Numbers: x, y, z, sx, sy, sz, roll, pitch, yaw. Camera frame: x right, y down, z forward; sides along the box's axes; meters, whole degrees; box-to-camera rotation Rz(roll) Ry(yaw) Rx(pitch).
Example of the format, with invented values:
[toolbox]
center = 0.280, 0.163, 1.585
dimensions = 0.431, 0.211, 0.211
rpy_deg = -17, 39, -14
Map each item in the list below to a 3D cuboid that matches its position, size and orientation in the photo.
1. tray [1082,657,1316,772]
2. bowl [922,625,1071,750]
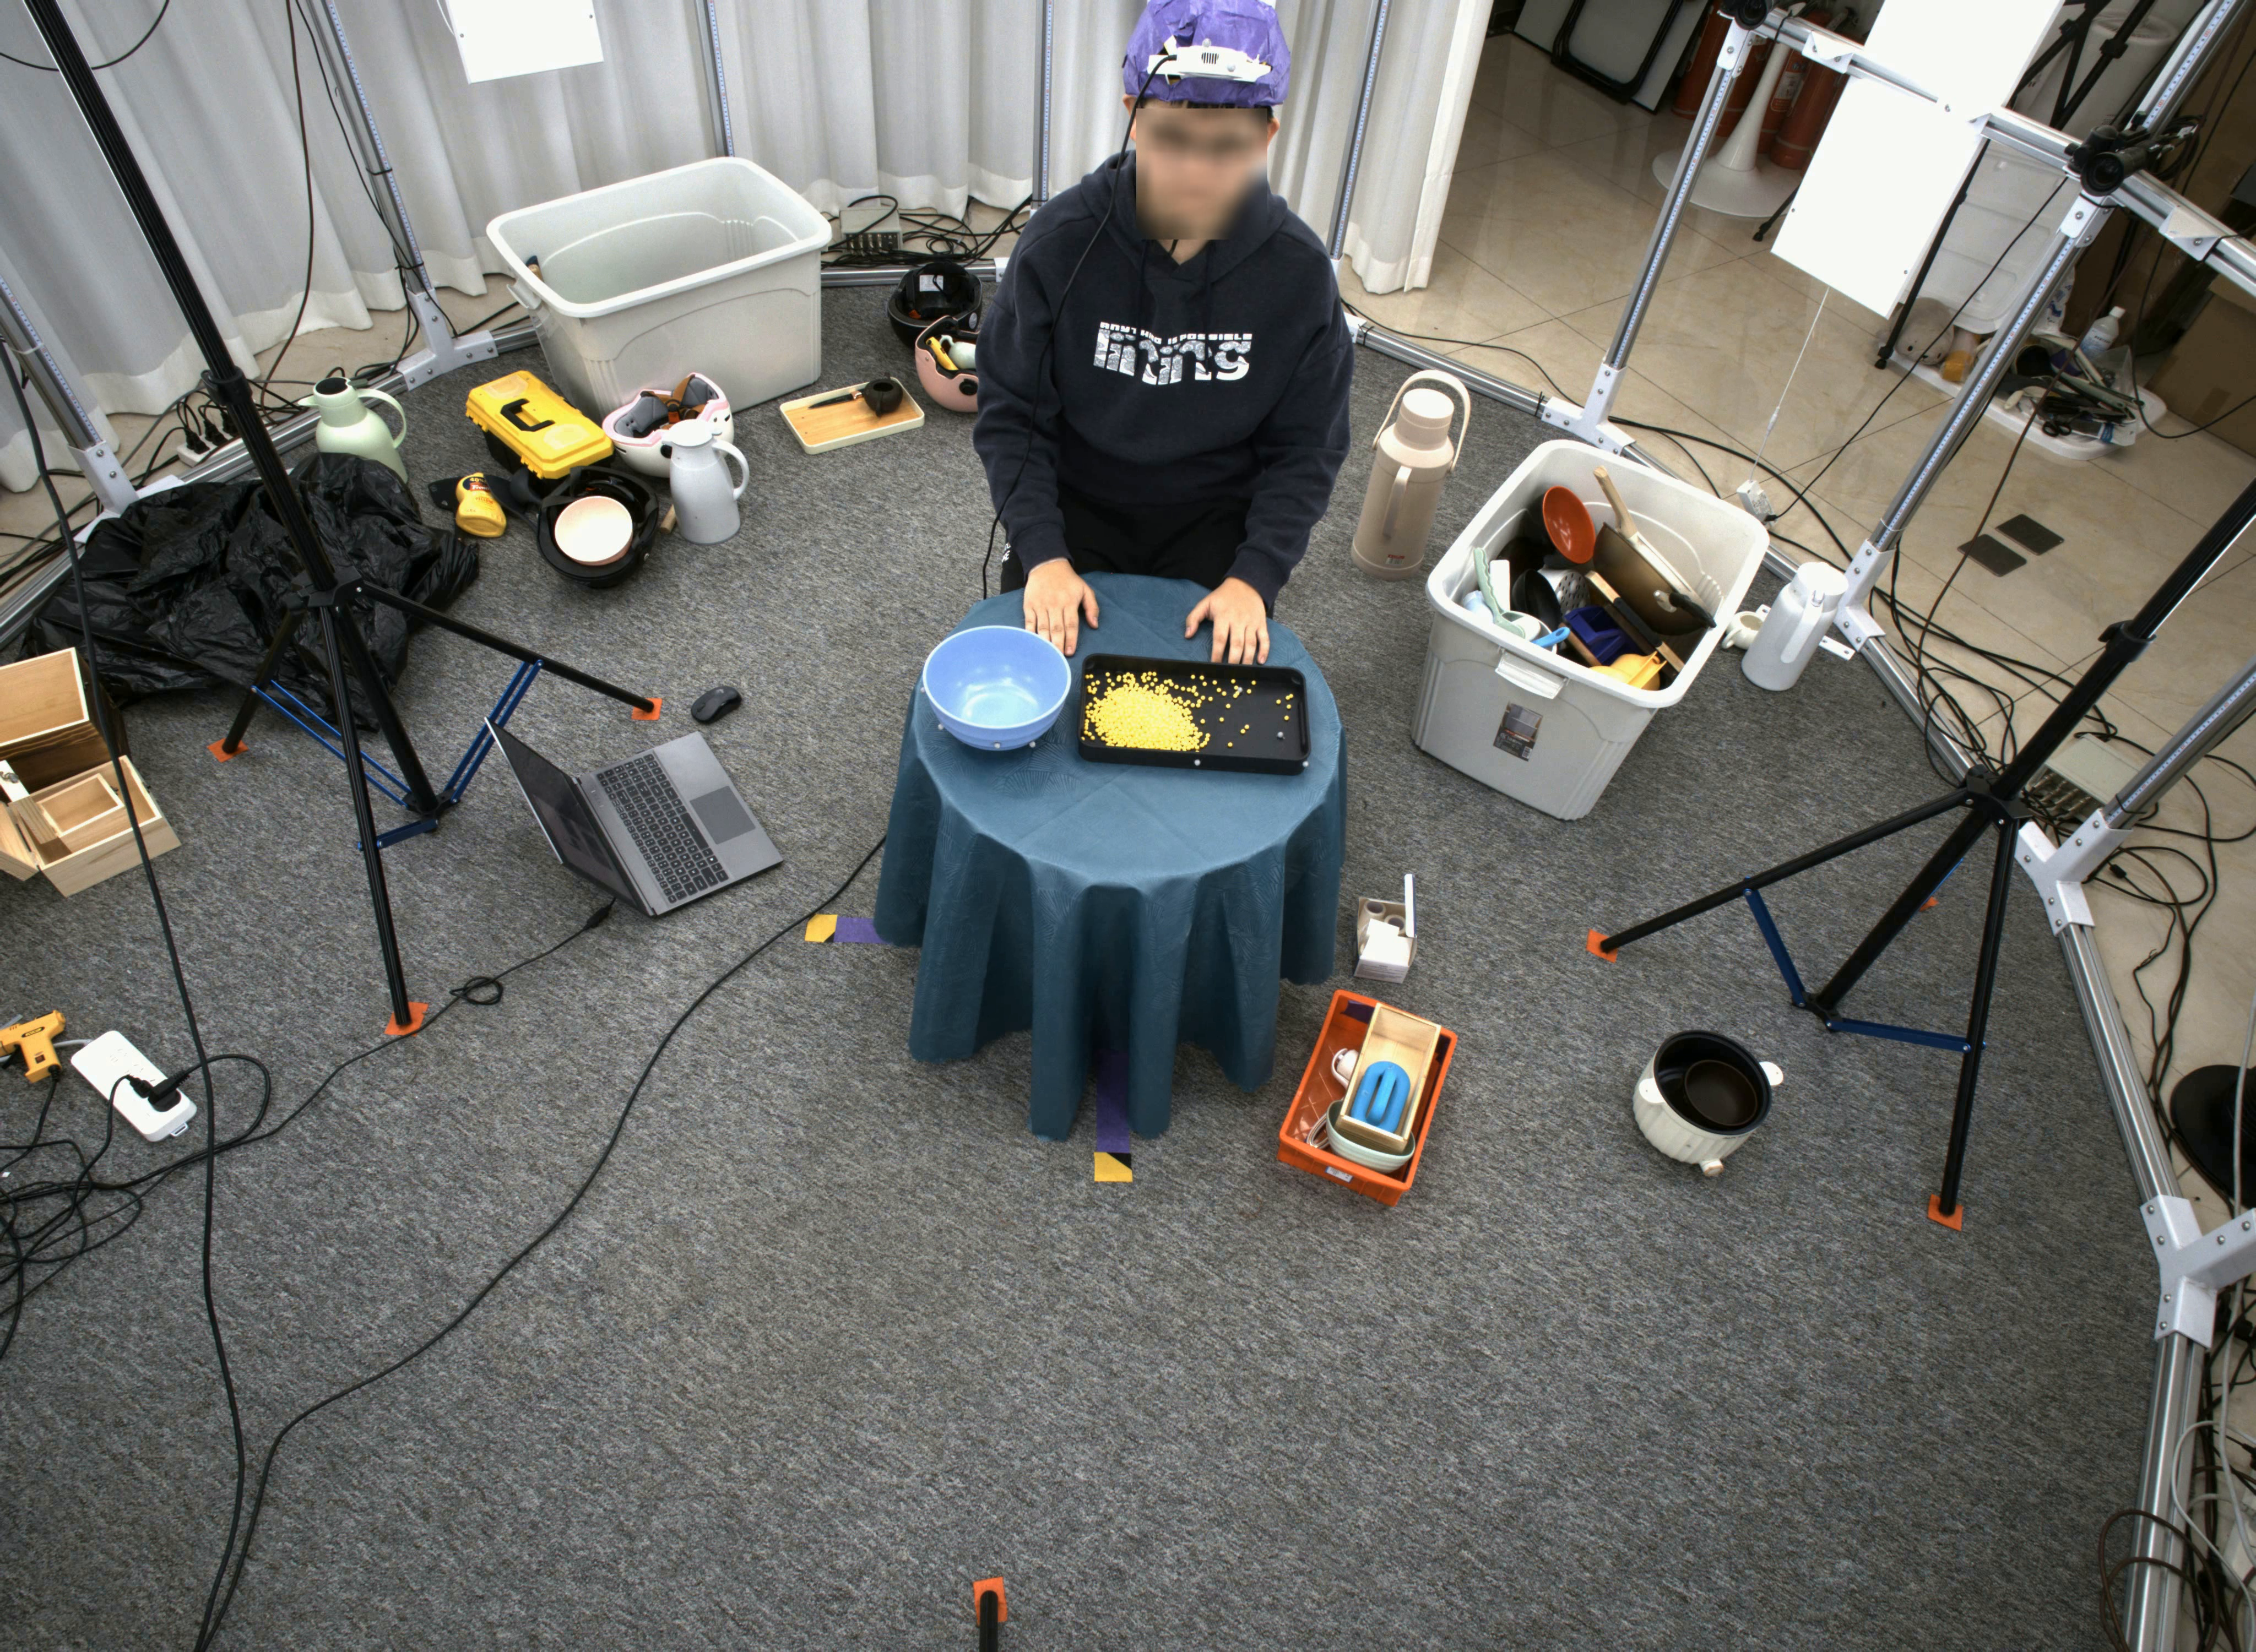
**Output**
[tray]
center = 0.096, -0.156, 1.787
dimensions = 0.318, 0.036, 0.189
rpy_deg = 2, 48, -1
[bowl]
center = -0.176, -0.172, 1.739
dimensions = 0.196, 0.093, 0.201
rpy_deg = 1, 50, -2
